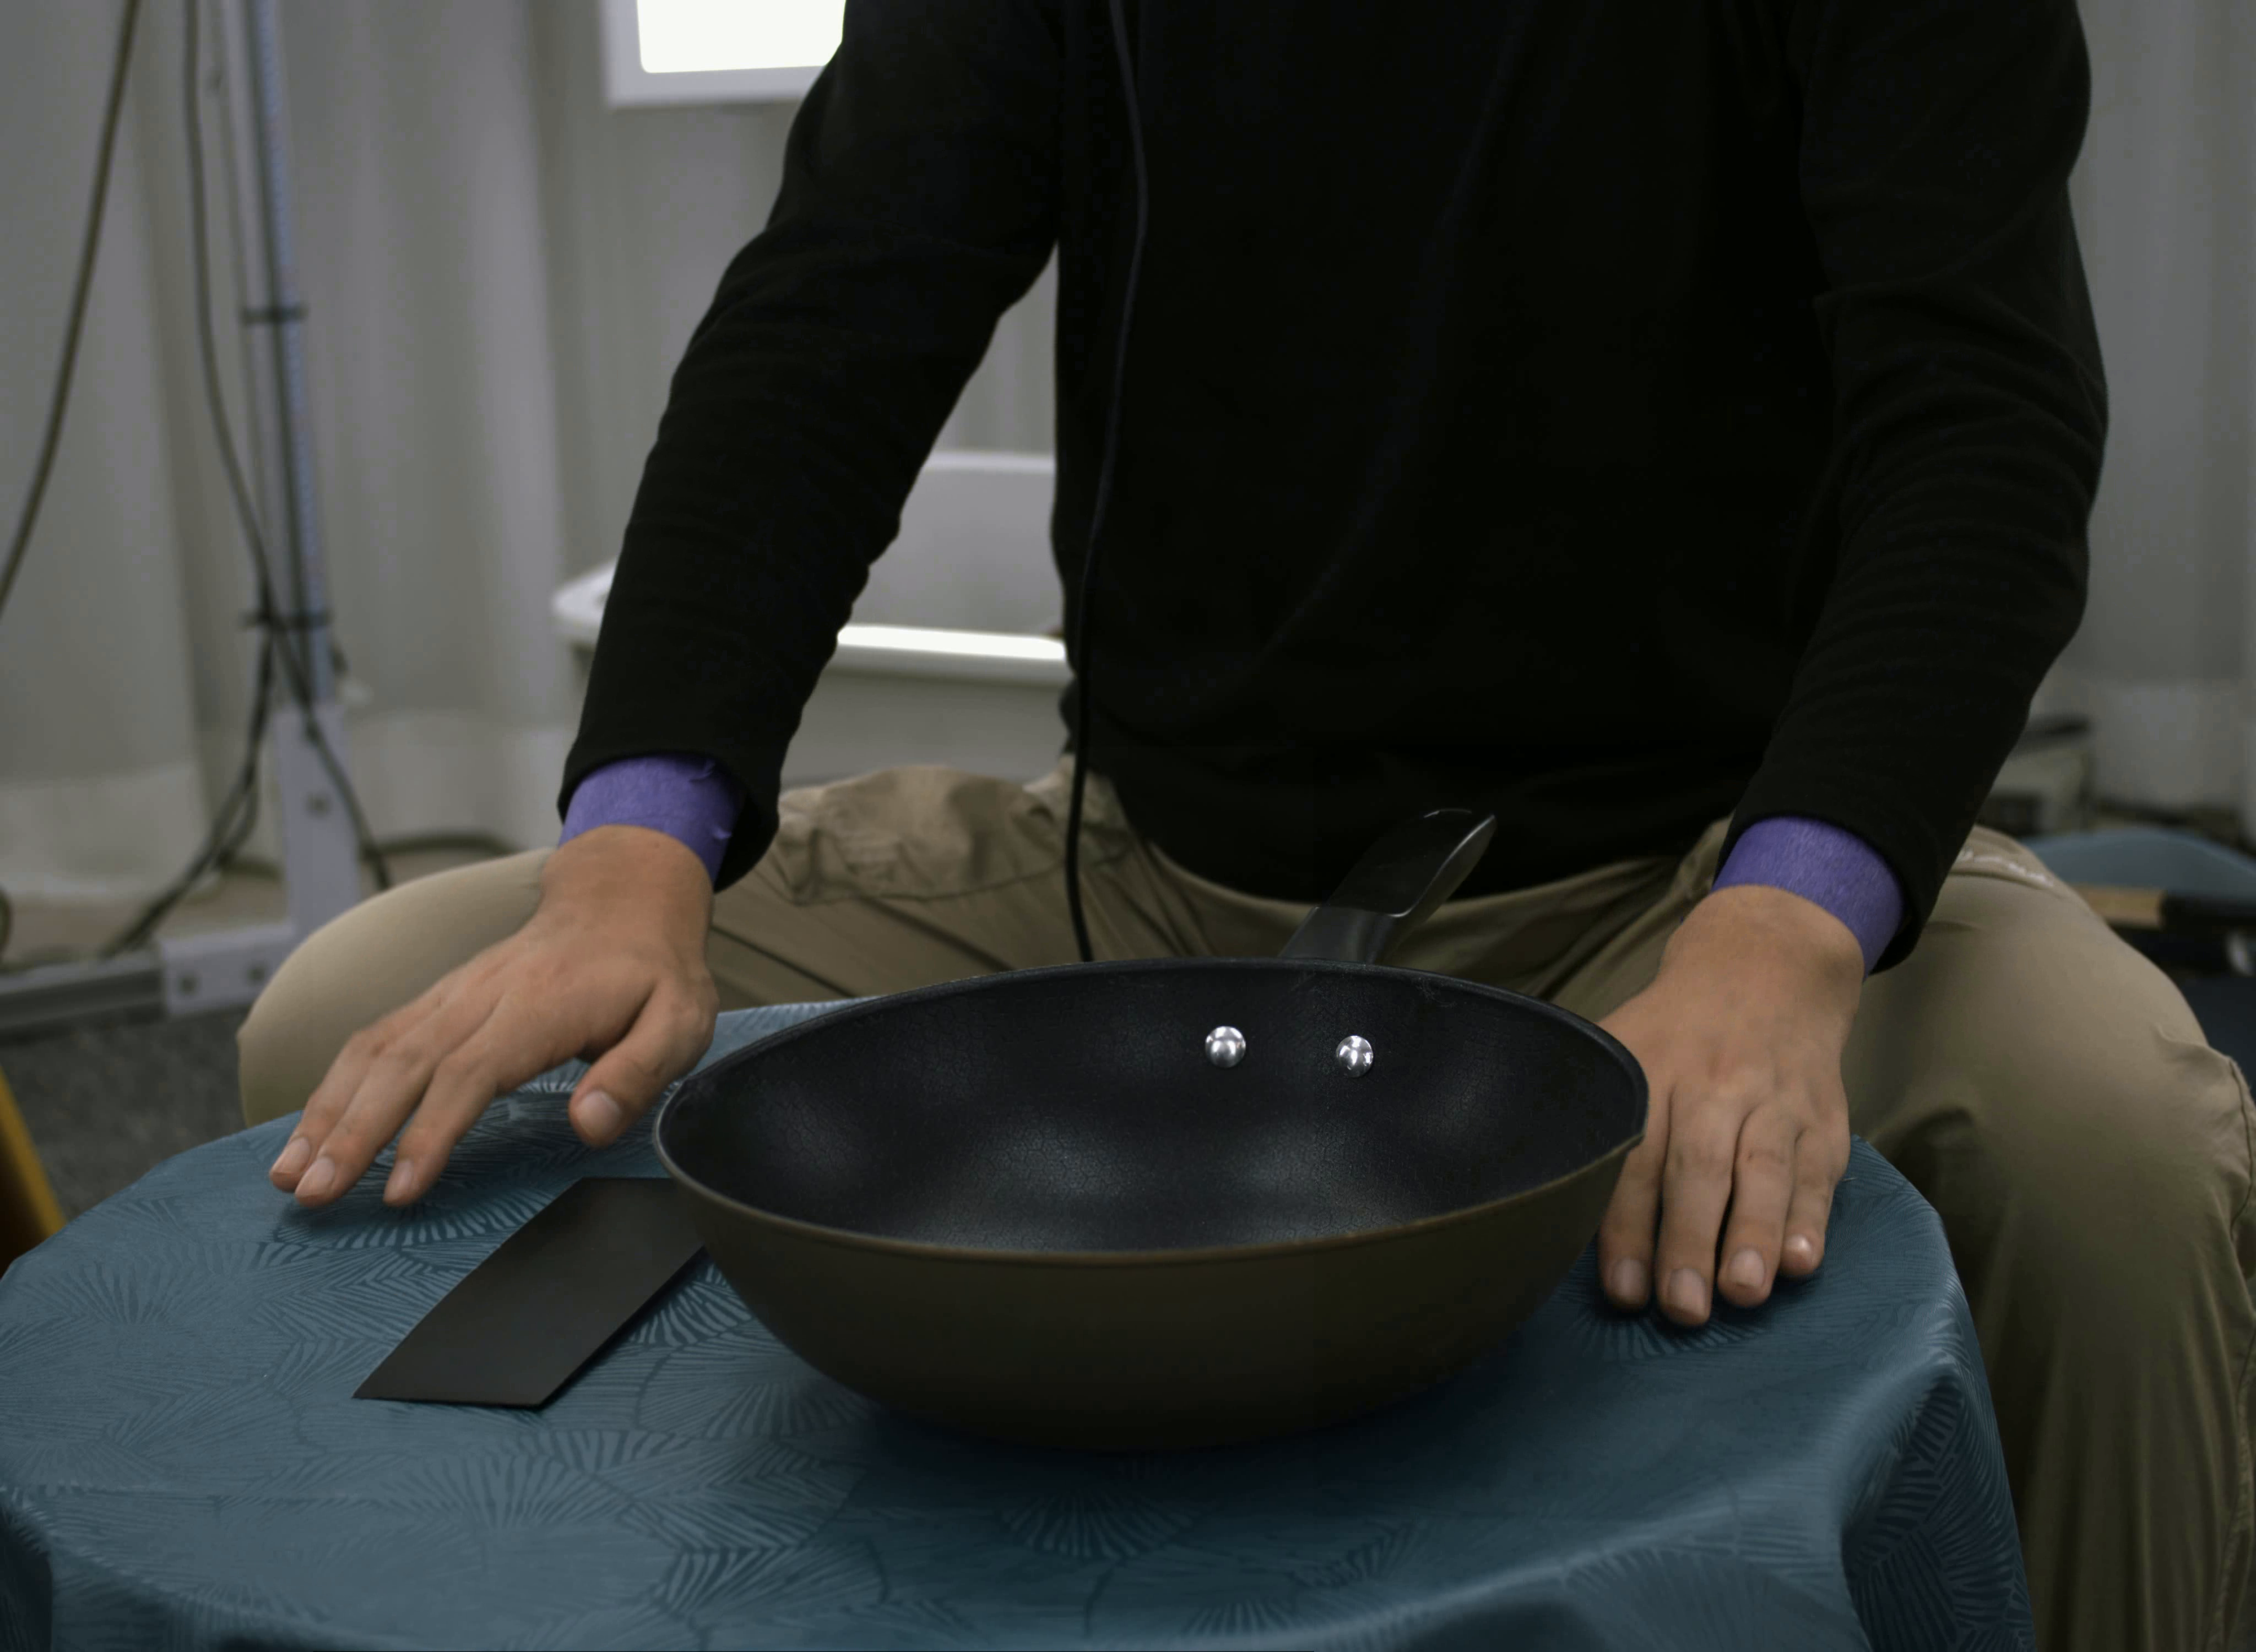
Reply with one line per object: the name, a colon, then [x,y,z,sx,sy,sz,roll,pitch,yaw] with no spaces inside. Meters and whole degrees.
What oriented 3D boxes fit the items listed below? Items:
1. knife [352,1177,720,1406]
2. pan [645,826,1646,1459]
knife: [-0.147,0.121,1.693,0.081,0.021,0.303,3,18,23]
pan: [0.037,0.092,1.636,0.288,0.086,0.464,3,15,20]
